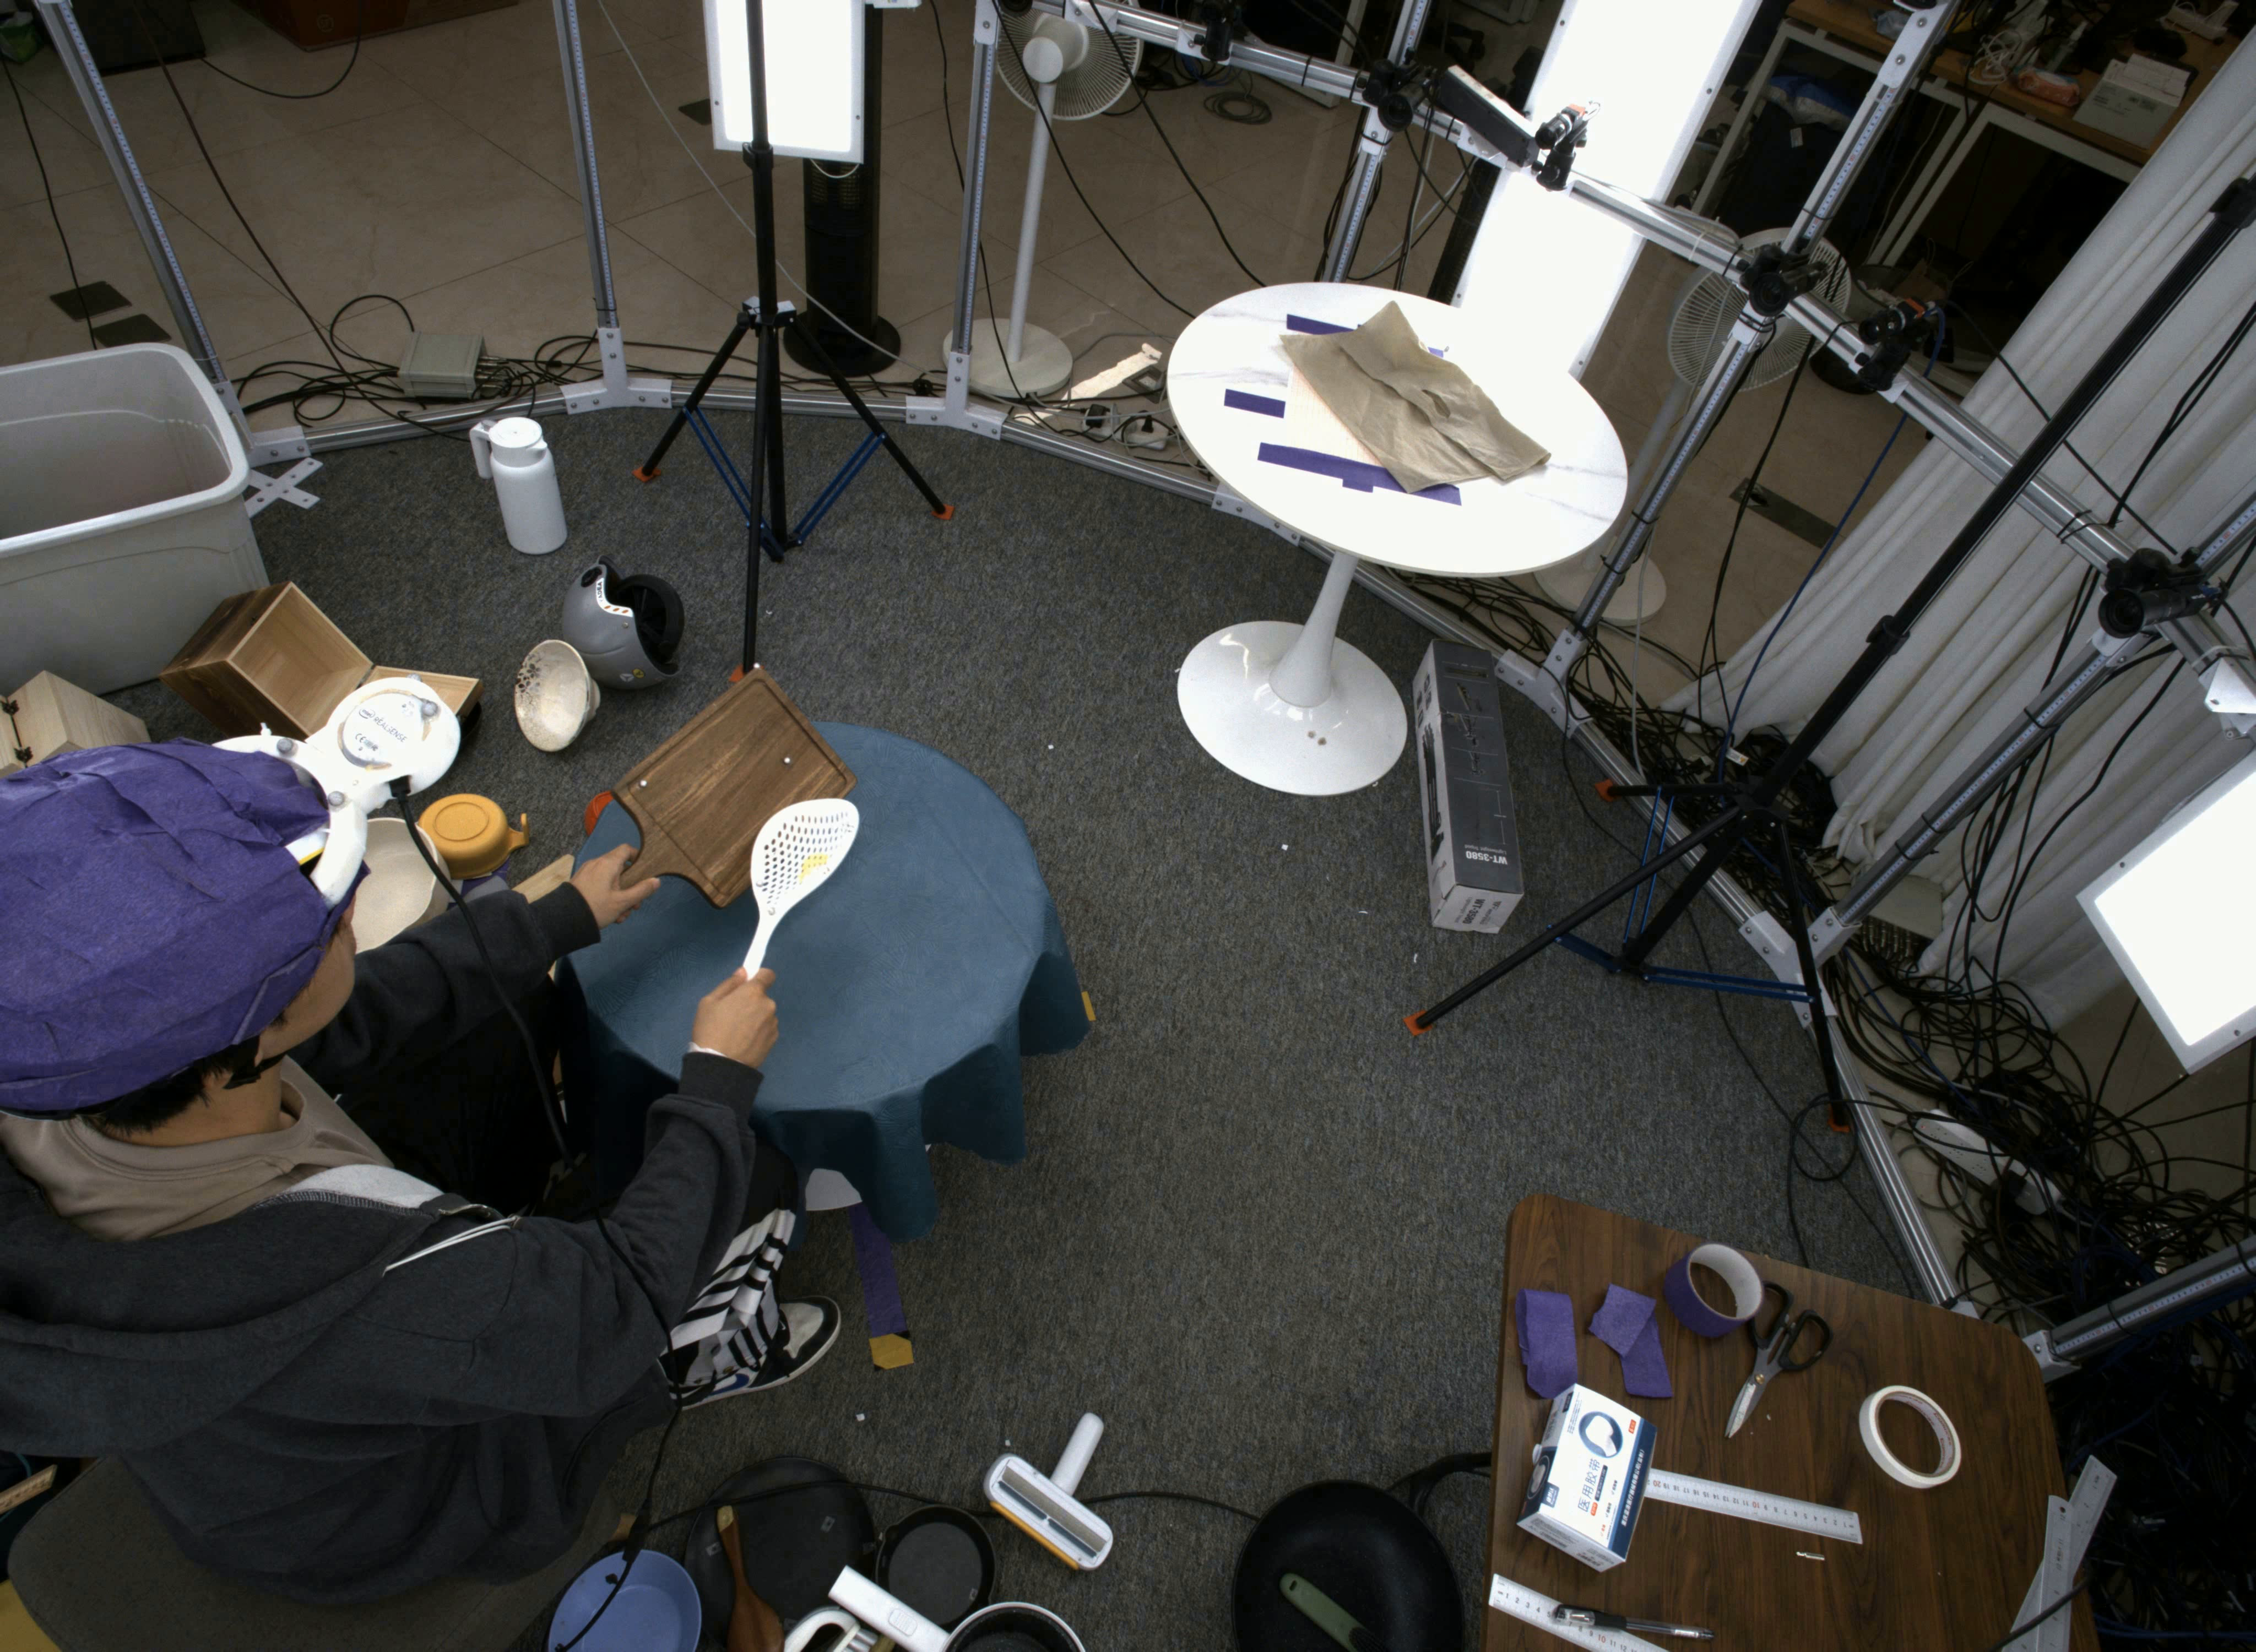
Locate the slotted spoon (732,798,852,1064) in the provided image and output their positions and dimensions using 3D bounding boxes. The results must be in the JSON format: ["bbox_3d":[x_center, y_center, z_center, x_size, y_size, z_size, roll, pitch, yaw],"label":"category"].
[{"bbox_3d":[-0.397,0.106,1.452,0.134,0.052,0.342,-4,45,15],"label":"slotted spoon"}]

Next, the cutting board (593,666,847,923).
[{"bbox_3d":[-0.516,-0.016,1.556,0.206,0.023,0.351,51,56,-18],"label":"cutting board"}]
